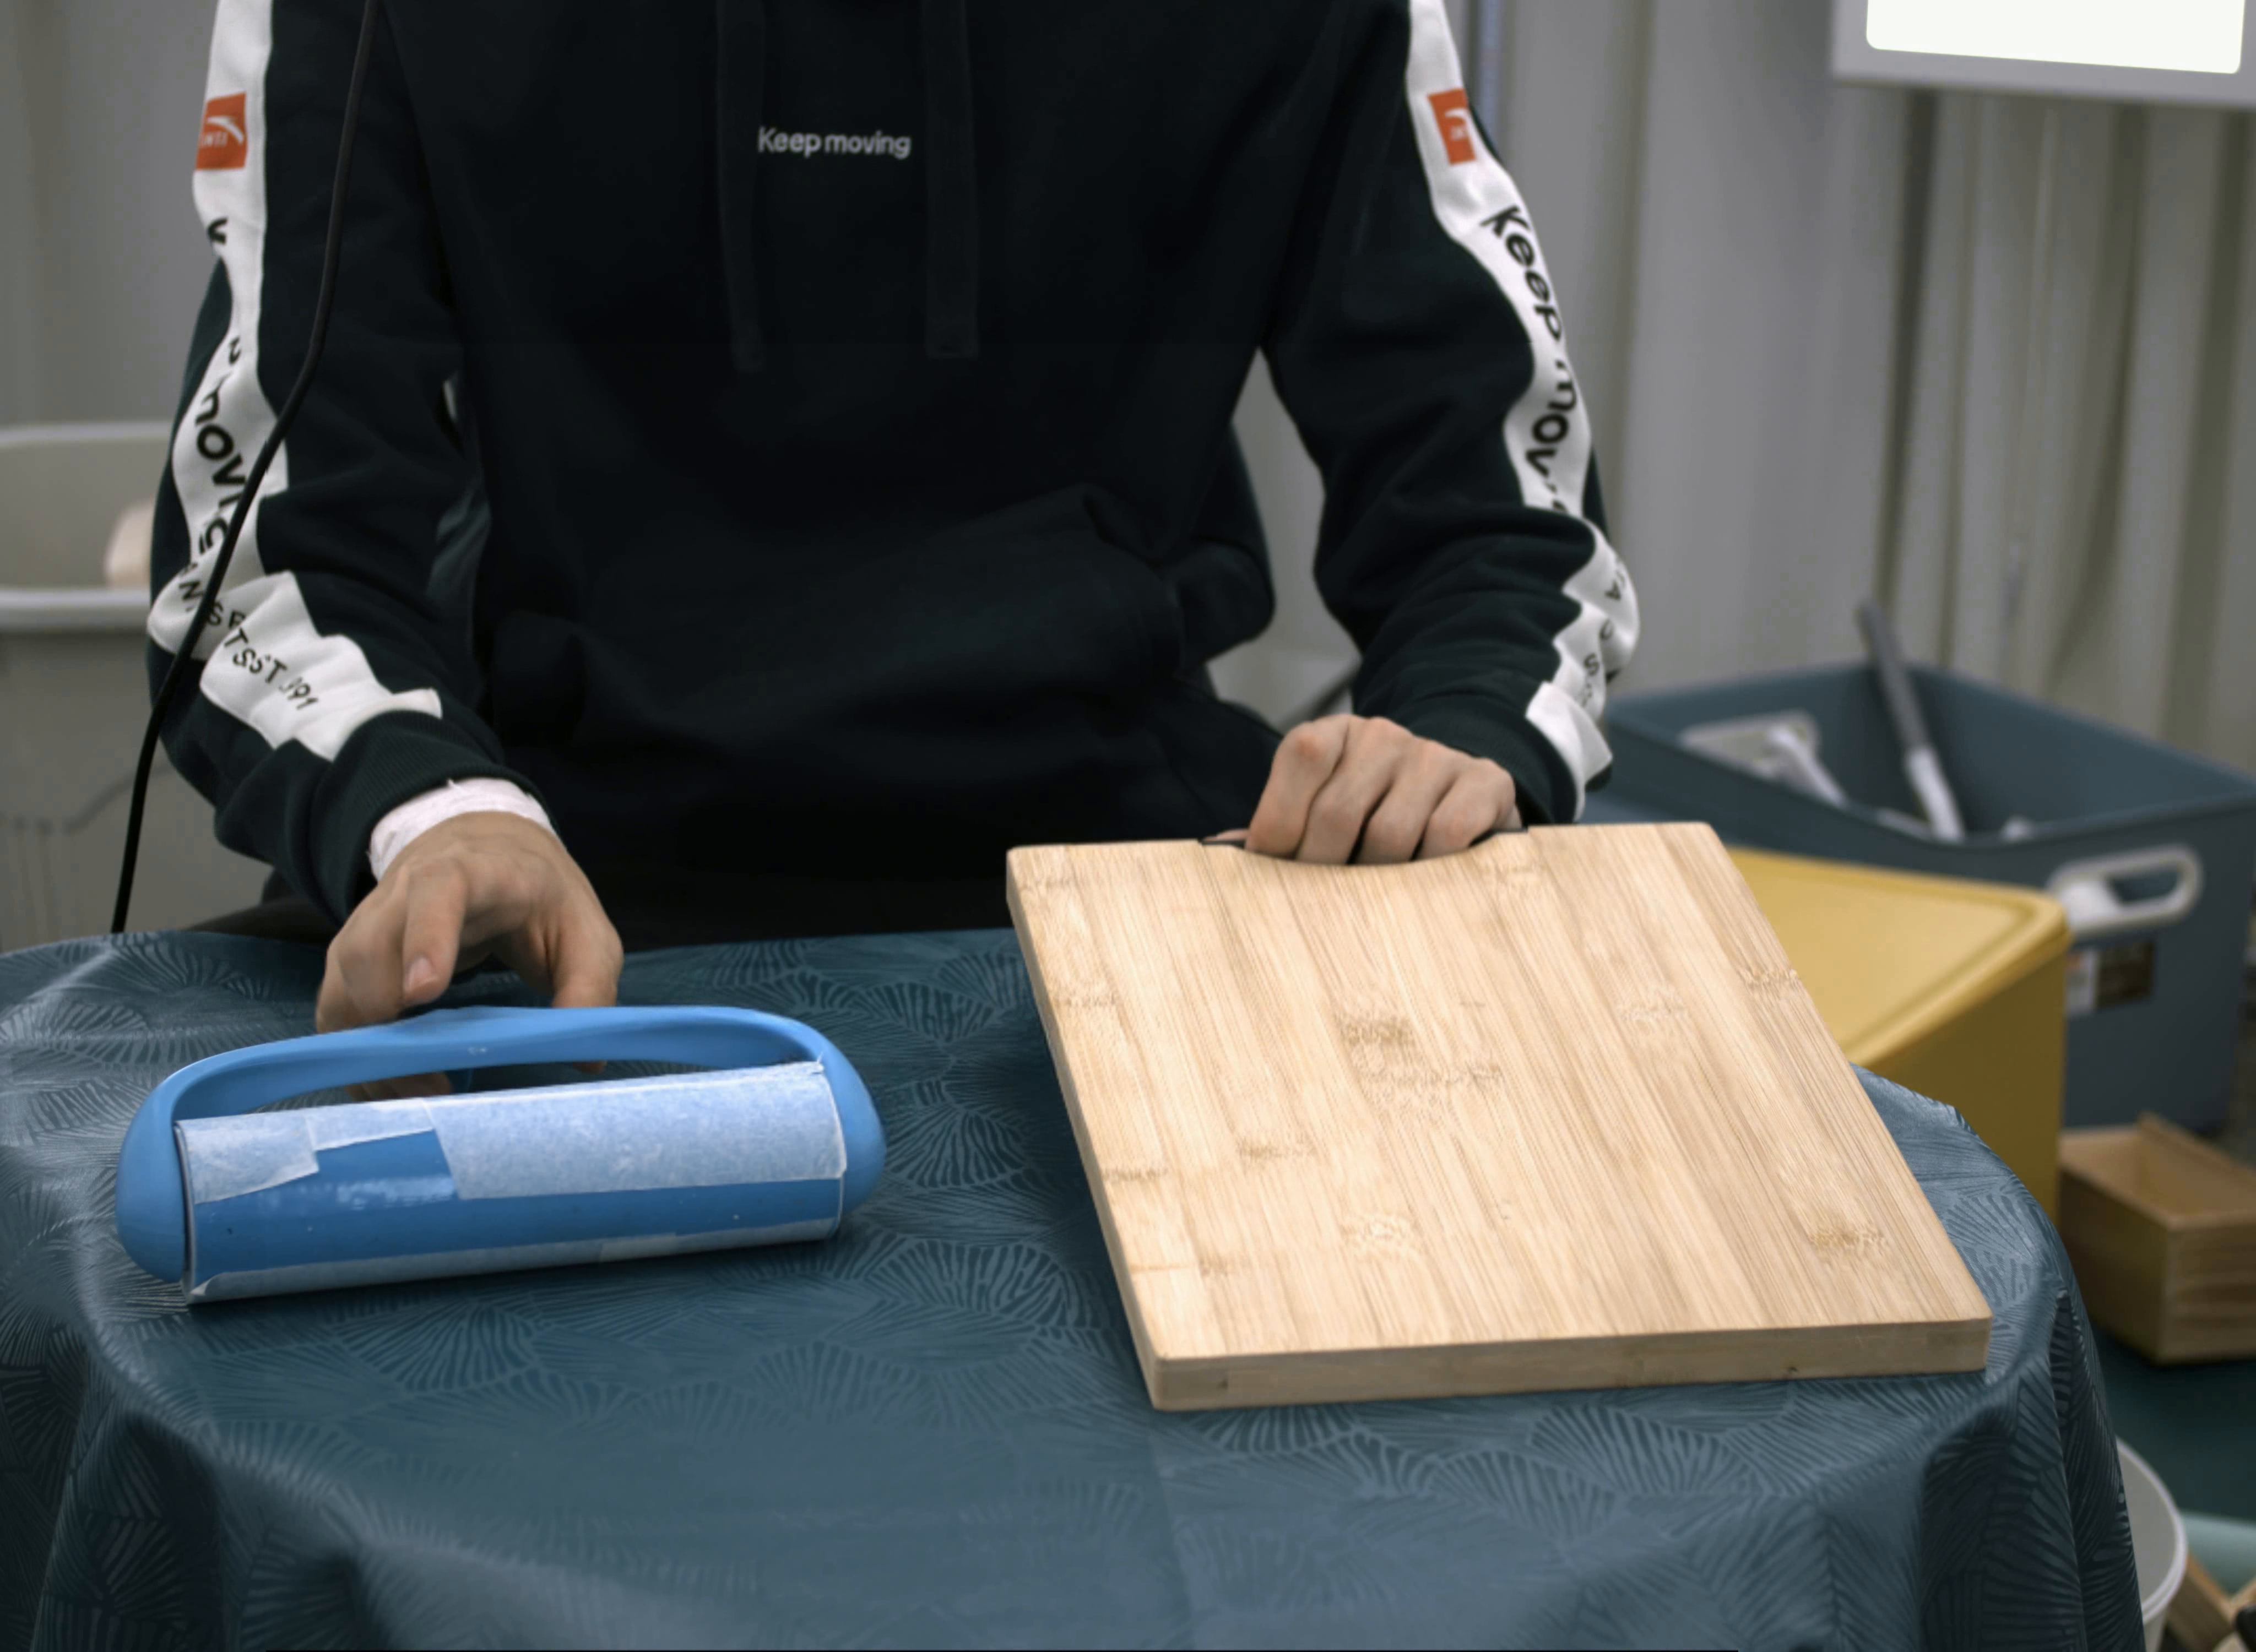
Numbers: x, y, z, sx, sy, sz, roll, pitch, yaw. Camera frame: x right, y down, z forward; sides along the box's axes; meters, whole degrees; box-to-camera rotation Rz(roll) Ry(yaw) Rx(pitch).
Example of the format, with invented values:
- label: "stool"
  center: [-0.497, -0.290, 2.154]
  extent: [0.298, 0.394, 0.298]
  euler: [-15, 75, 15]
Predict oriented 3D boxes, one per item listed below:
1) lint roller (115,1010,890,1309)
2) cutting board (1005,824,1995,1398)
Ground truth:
- label: "lint roller"
  center: [-0.201, 0.088, 1.594]
  extent: [0.229, 0.068, 0.178]
  euler: [-7, 18, -19]
- label: "cutting board"
  center: [0.101, 0.080, 1.615]
  extent: [0.250, 0.024, 0.345]
  euler: [-2, 24, -9]
